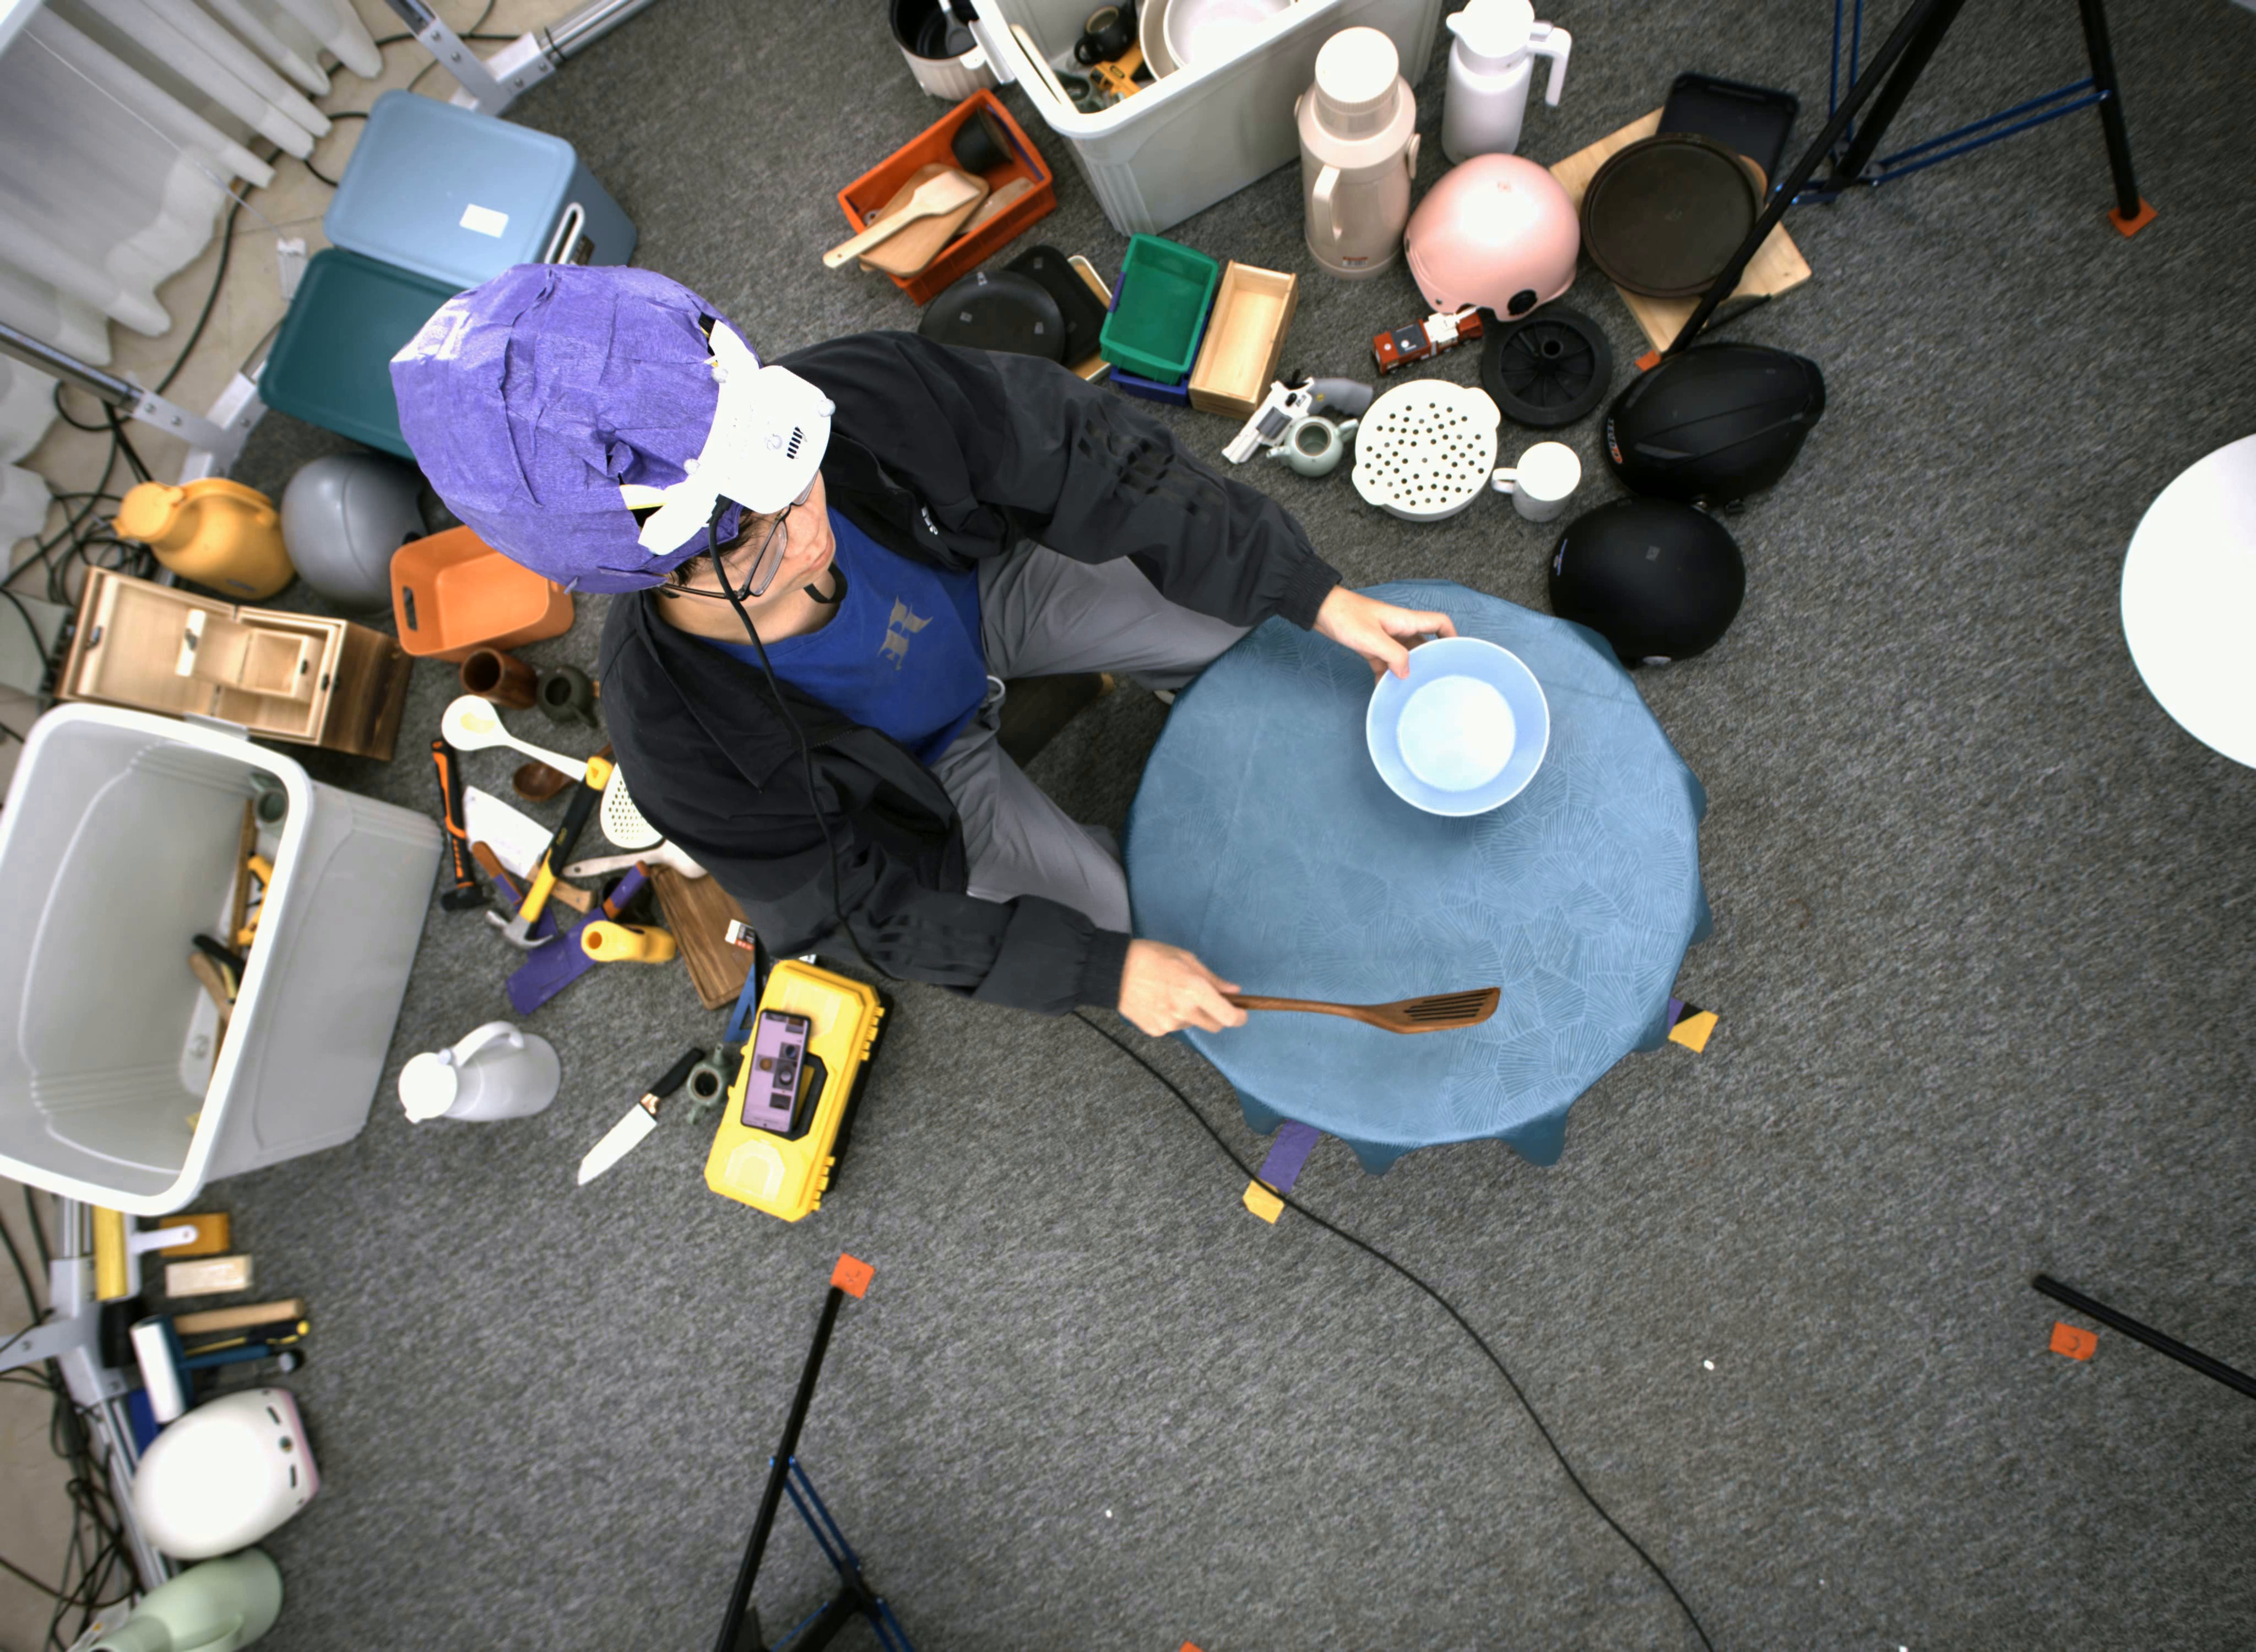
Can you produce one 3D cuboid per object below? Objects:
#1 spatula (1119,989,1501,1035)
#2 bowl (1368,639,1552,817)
[{"bbox_3d":[0.170,0.178,1.368,0.389,0.084,0.024,0,106,23],"label":"spatula"},{"bbox_3d":[0.330,-0.096,1.368,0.177,0.070,0.175,-1,88,14],"label":"bowl"}]
